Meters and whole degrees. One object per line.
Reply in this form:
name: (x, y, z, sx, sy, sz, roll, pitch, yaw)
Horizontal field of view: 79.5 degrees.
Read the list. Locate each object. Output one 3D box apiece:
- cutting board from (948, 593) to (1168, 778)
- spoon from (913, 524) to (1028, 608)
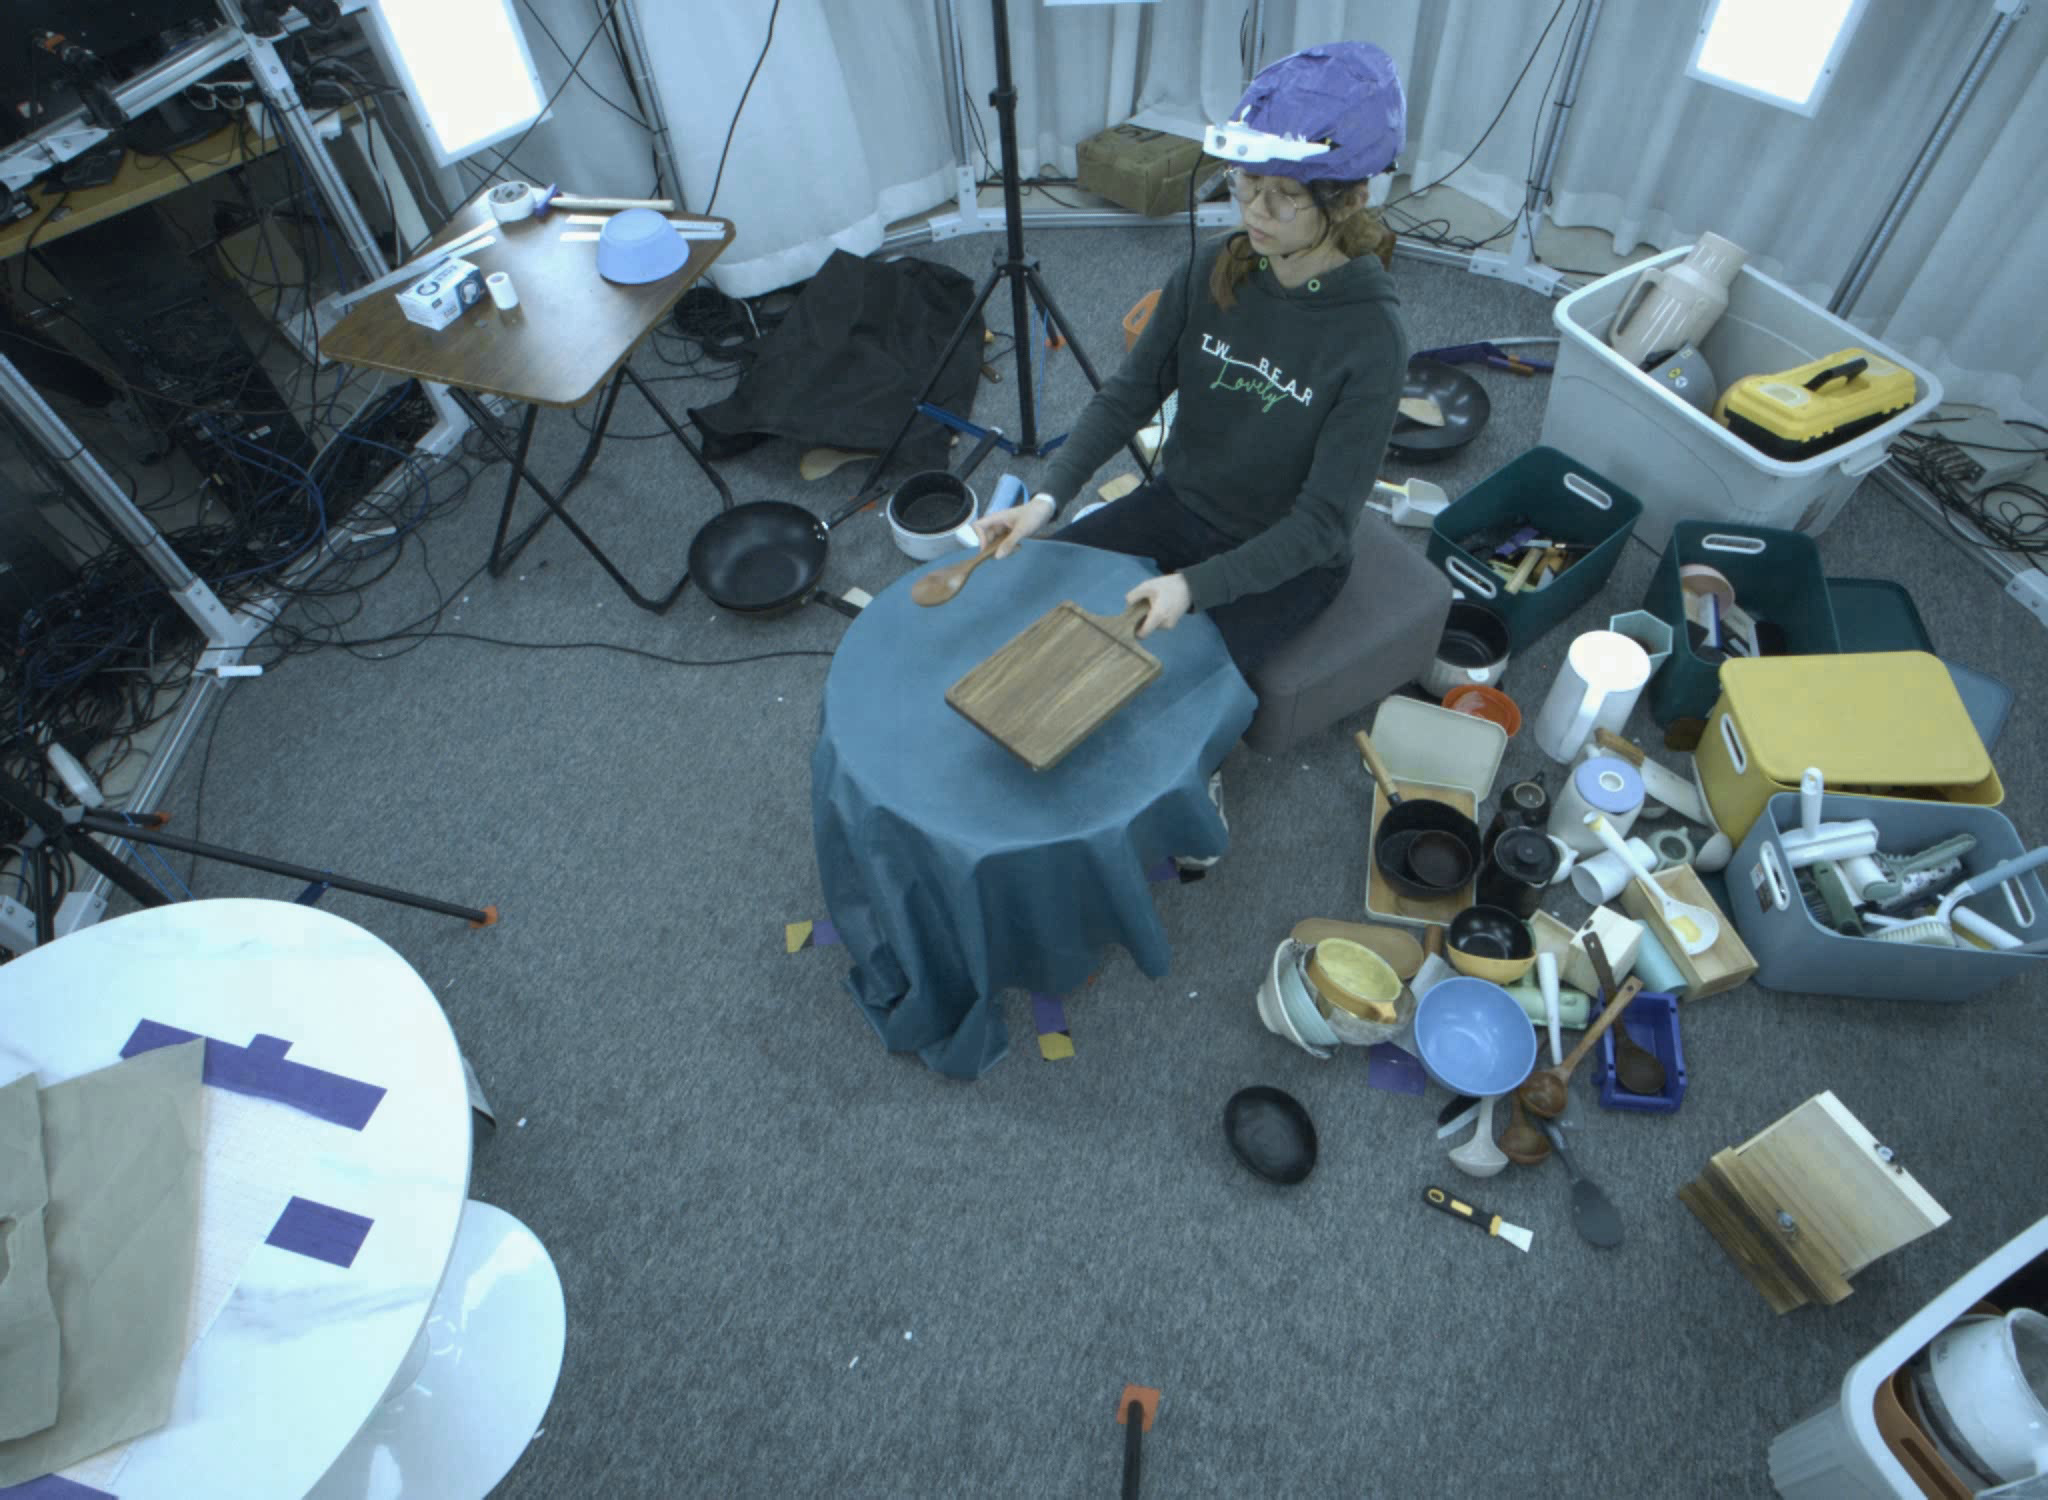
cutting board: (0.082, -0.118, 1.740, 0.197, 0.023, 0.354, 37, 63, 27)
spoon: (-0.079, -0.280, 1.866, 0.217, 0.017, 0.074, -40, 48, -19)
